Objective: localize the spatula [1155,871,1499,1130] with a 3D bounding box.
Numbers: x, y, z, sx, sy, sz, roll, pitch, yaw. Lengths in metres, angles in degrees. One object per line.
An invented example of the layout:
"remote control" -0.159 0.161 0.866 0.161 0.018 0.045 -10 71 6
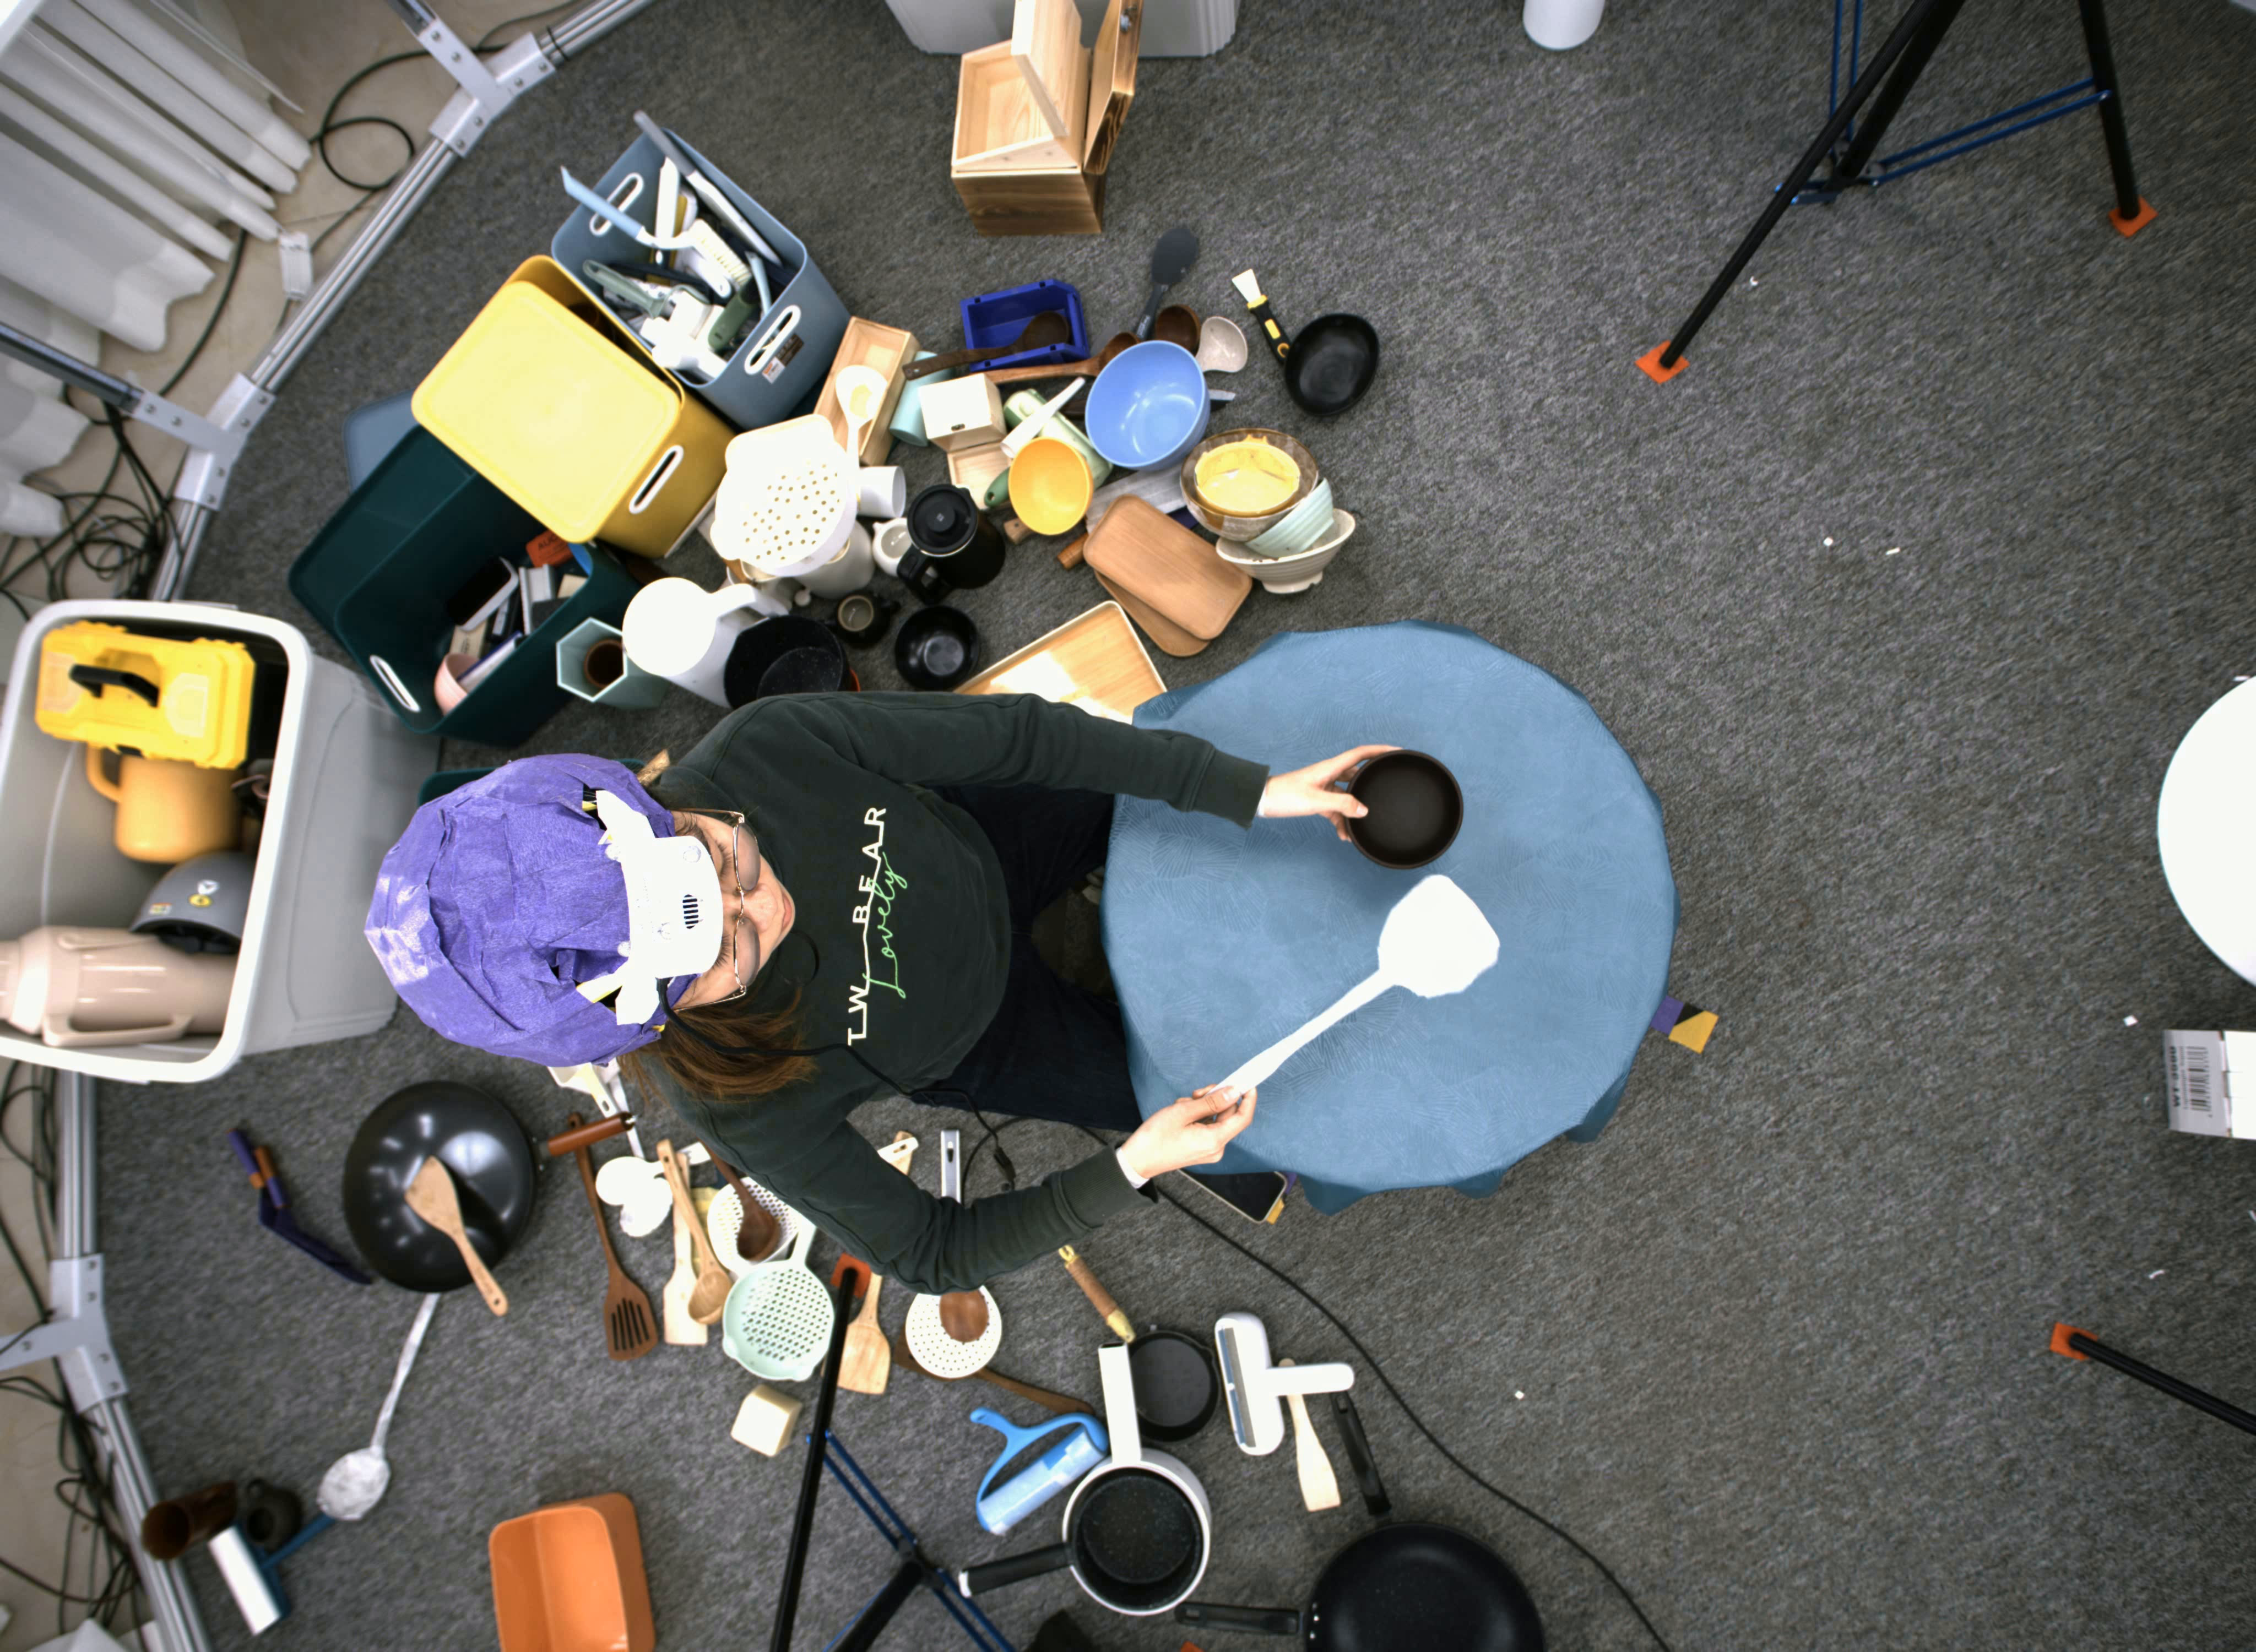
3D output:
"spatula" 0.176 0.178 1.284 0.366 0.045 0.098 -36 76 3

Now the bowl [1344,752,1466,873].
"bowl" 0.271 -0.014 1.356 0.118 0.069 0.118 0 91 10
